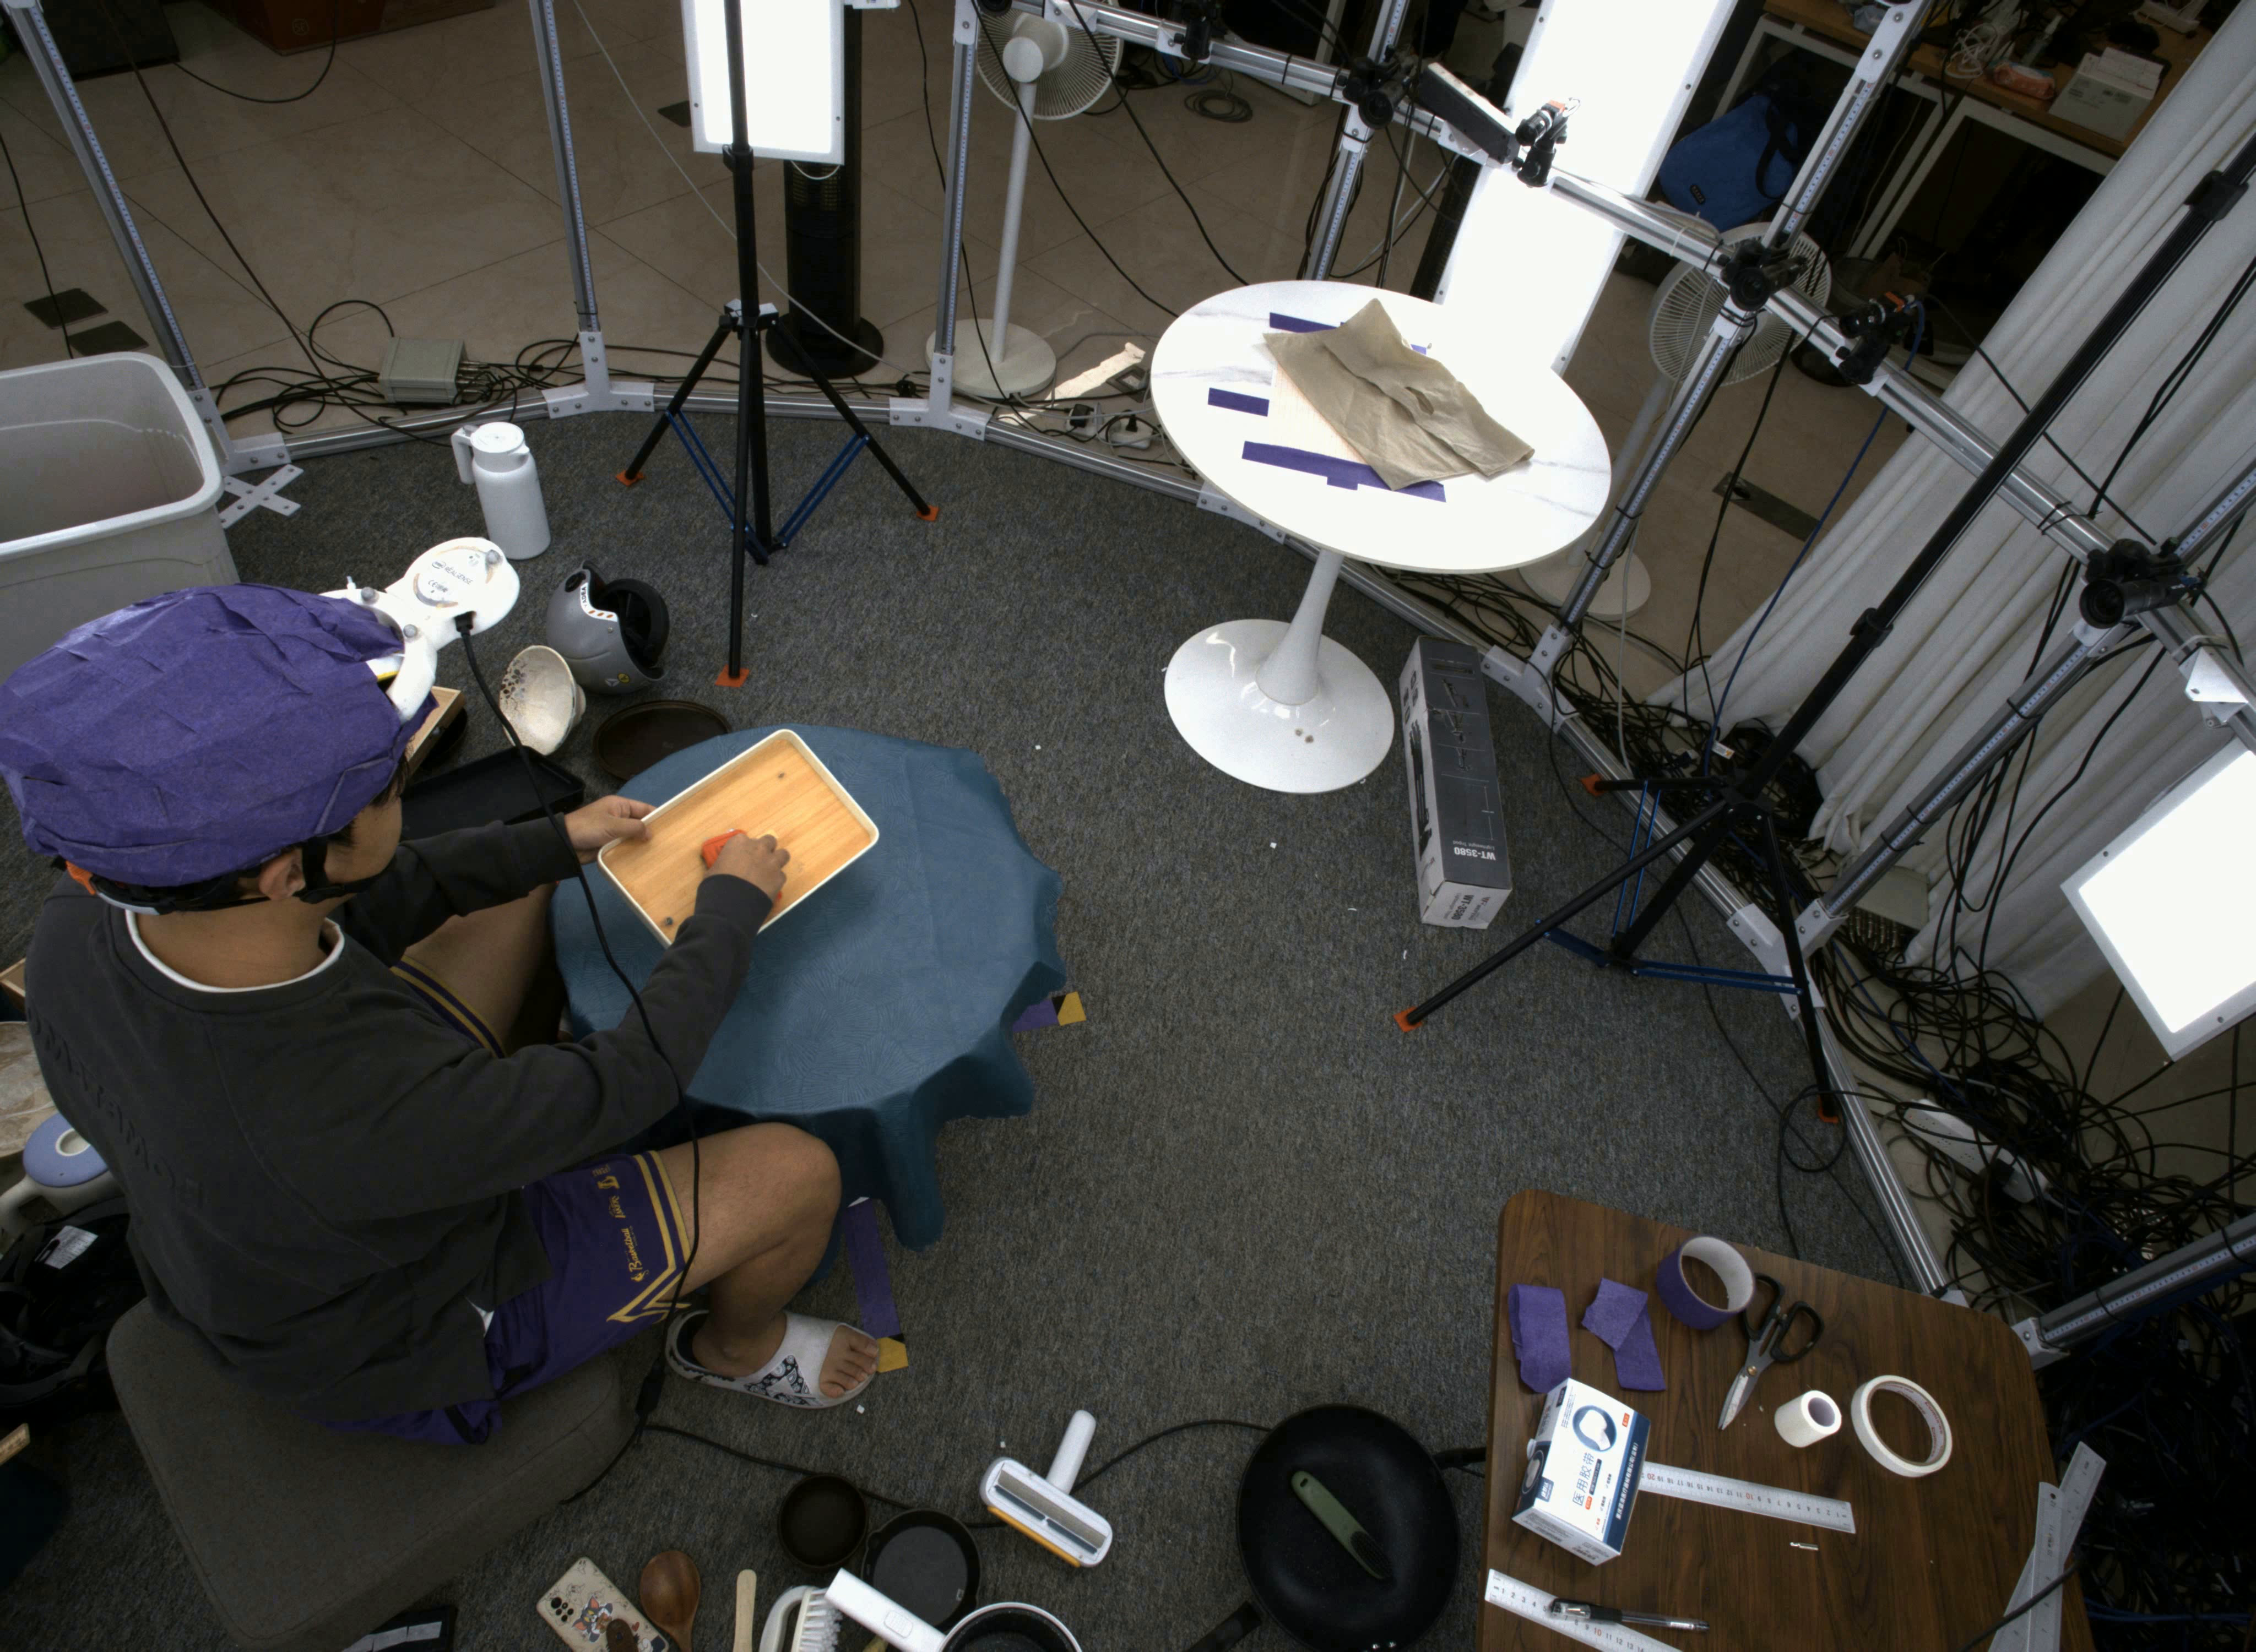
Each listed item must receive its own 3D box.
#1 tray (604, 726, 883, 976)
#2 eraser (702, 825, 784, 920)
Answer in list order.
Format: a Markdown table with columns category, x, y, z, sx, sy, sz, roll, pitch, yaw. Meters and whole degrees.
| category | x | y | z | sx | sy | sz | roll | pitch | yaw |
| --- | --- | --- | --- | --- | --- | --- | --- | --- | --- |
| tray | -0.462 | 0.023 | 1.565 | 0.192 | 0.027 | 0.300 | 50 | 55 | -2 |
| eraser | -0.457 | 0.053 | 1.534 | 0.059 | 0.023 | 0.107 | -29 | 76 | -26 |
